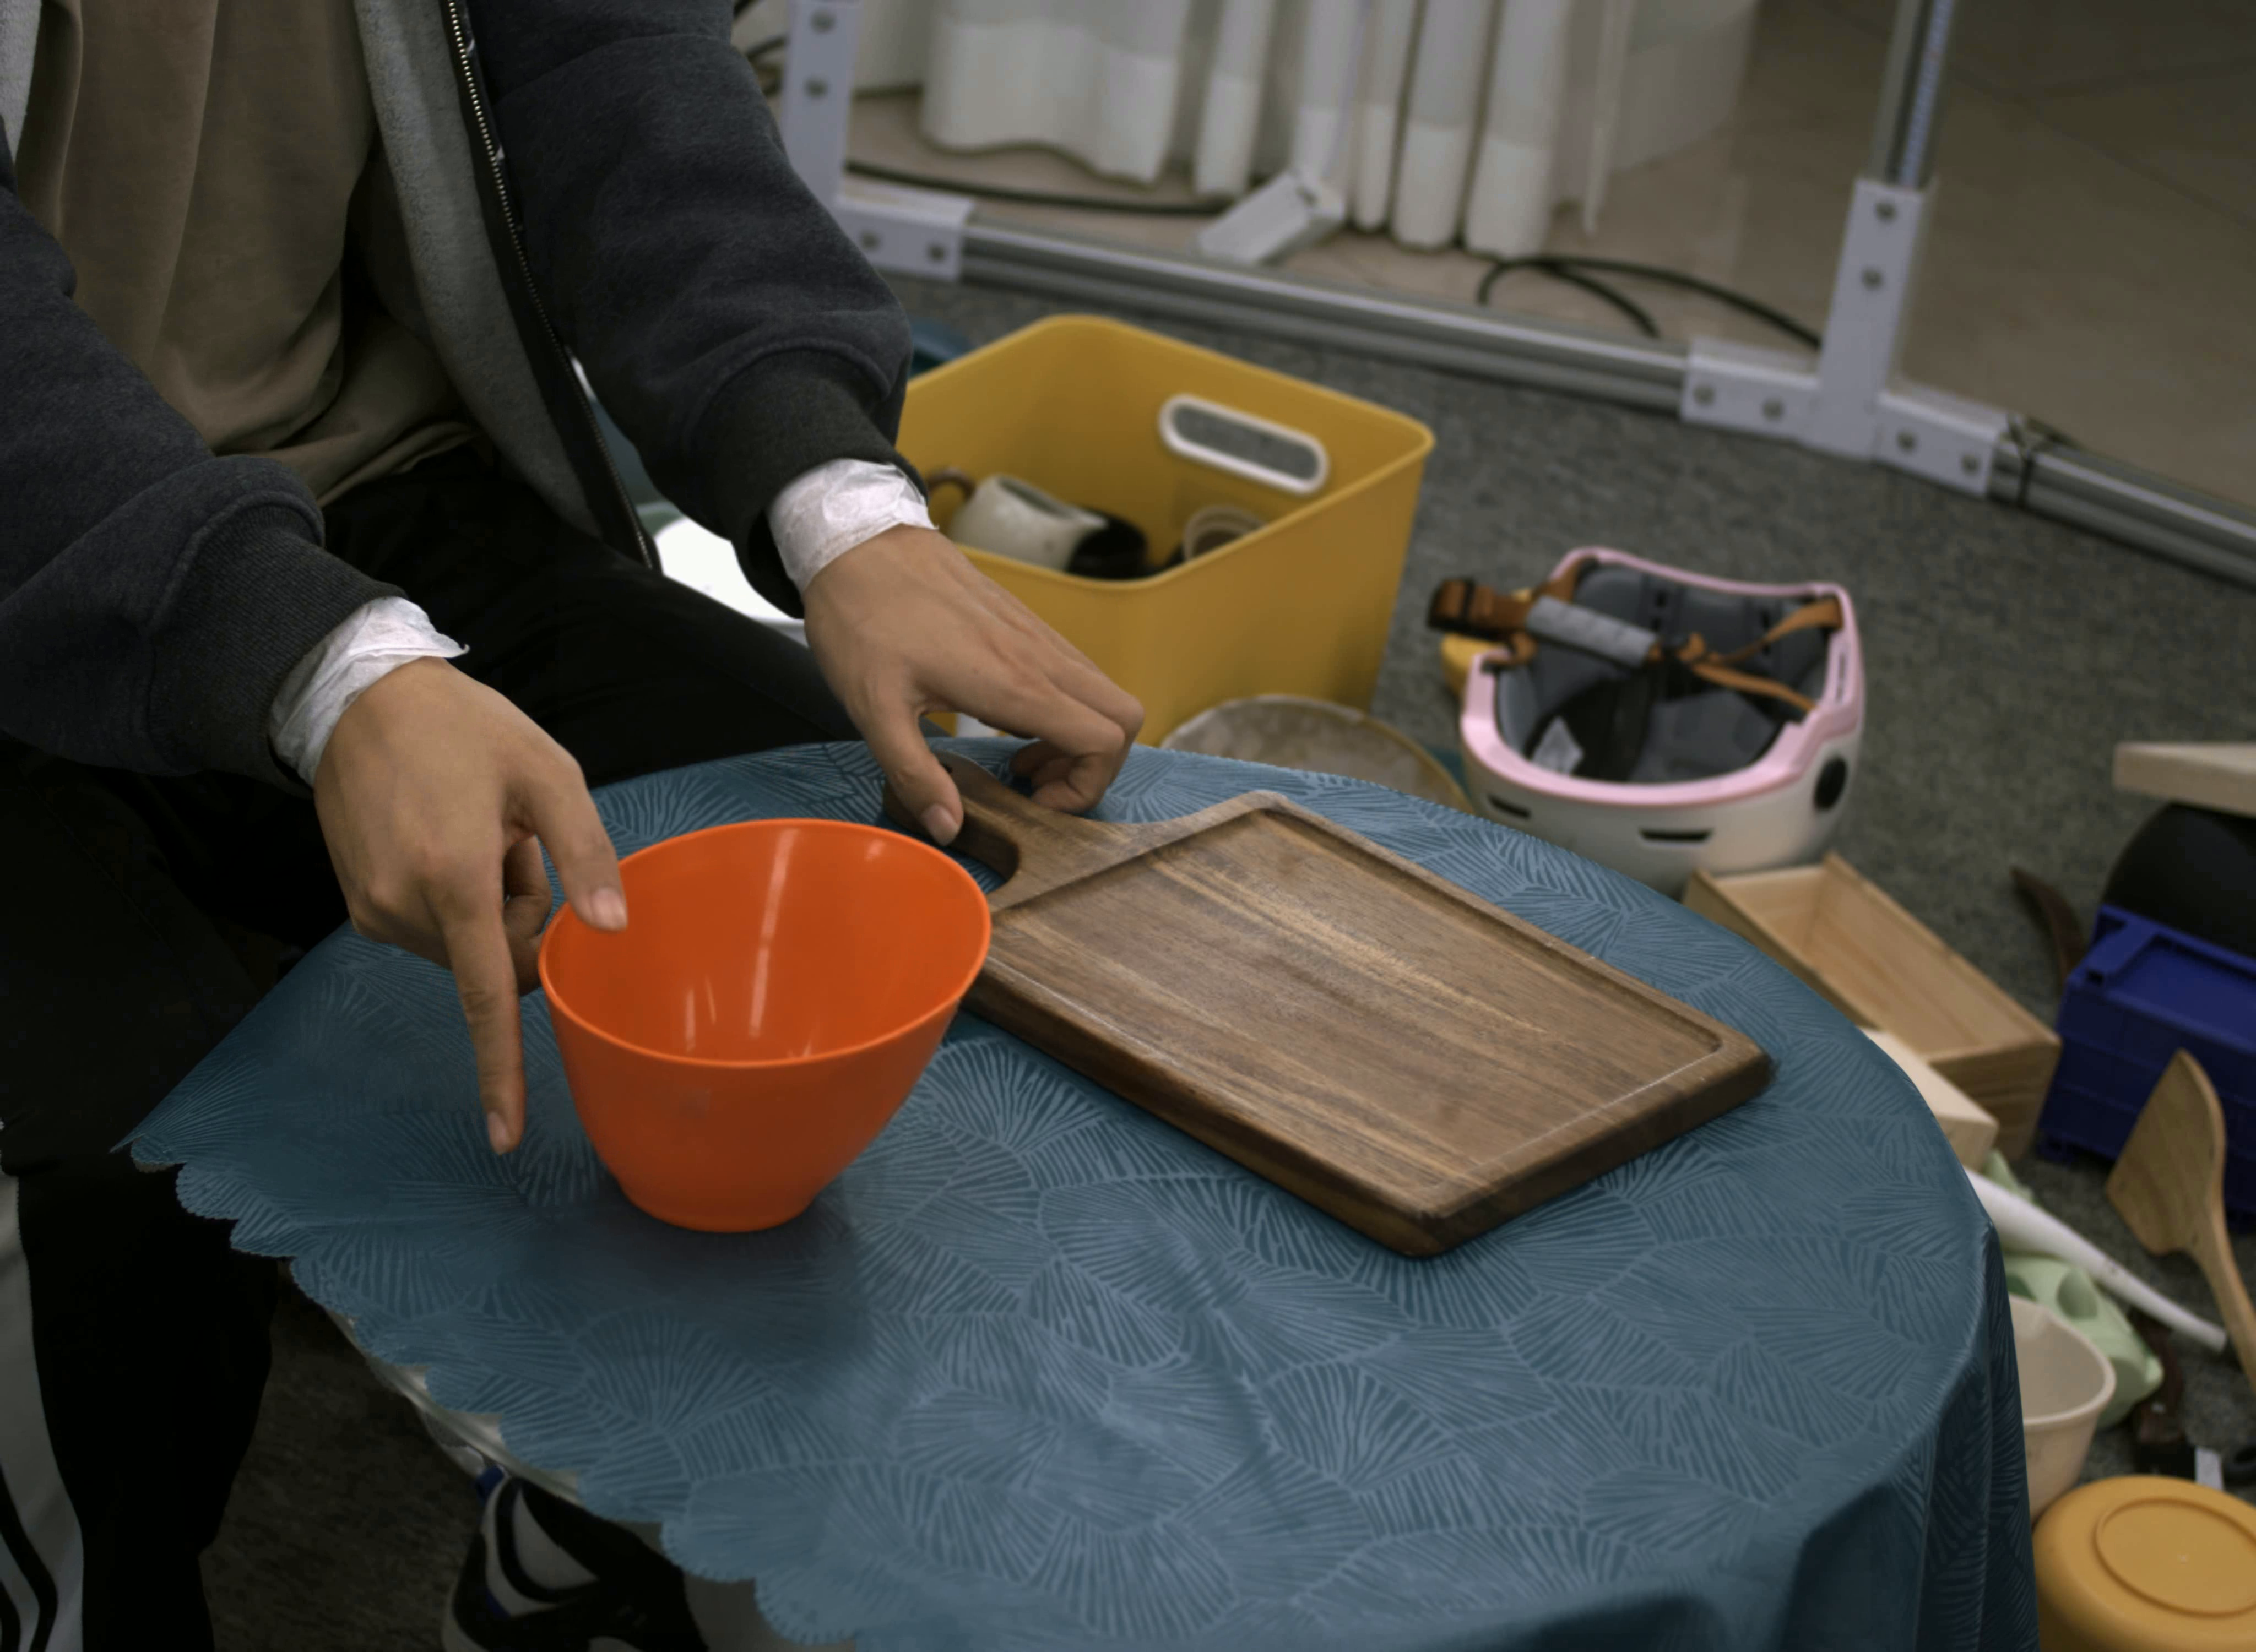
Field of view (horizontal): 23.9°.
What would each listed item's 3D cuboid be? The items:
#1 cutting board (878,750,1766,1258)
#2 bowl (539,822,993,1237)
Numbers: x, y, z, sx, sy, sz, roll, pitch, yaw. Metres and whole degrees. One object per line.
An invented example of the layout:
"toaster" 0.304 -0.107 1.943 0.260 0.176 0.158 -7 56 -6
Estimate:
"cutting board" 0.039 0.047 1.939 0.355 0.023 0.200 28 34 36
"bowl" -0.123 0.074 1.760 0.147 0.104 0.149 6 27 -3
